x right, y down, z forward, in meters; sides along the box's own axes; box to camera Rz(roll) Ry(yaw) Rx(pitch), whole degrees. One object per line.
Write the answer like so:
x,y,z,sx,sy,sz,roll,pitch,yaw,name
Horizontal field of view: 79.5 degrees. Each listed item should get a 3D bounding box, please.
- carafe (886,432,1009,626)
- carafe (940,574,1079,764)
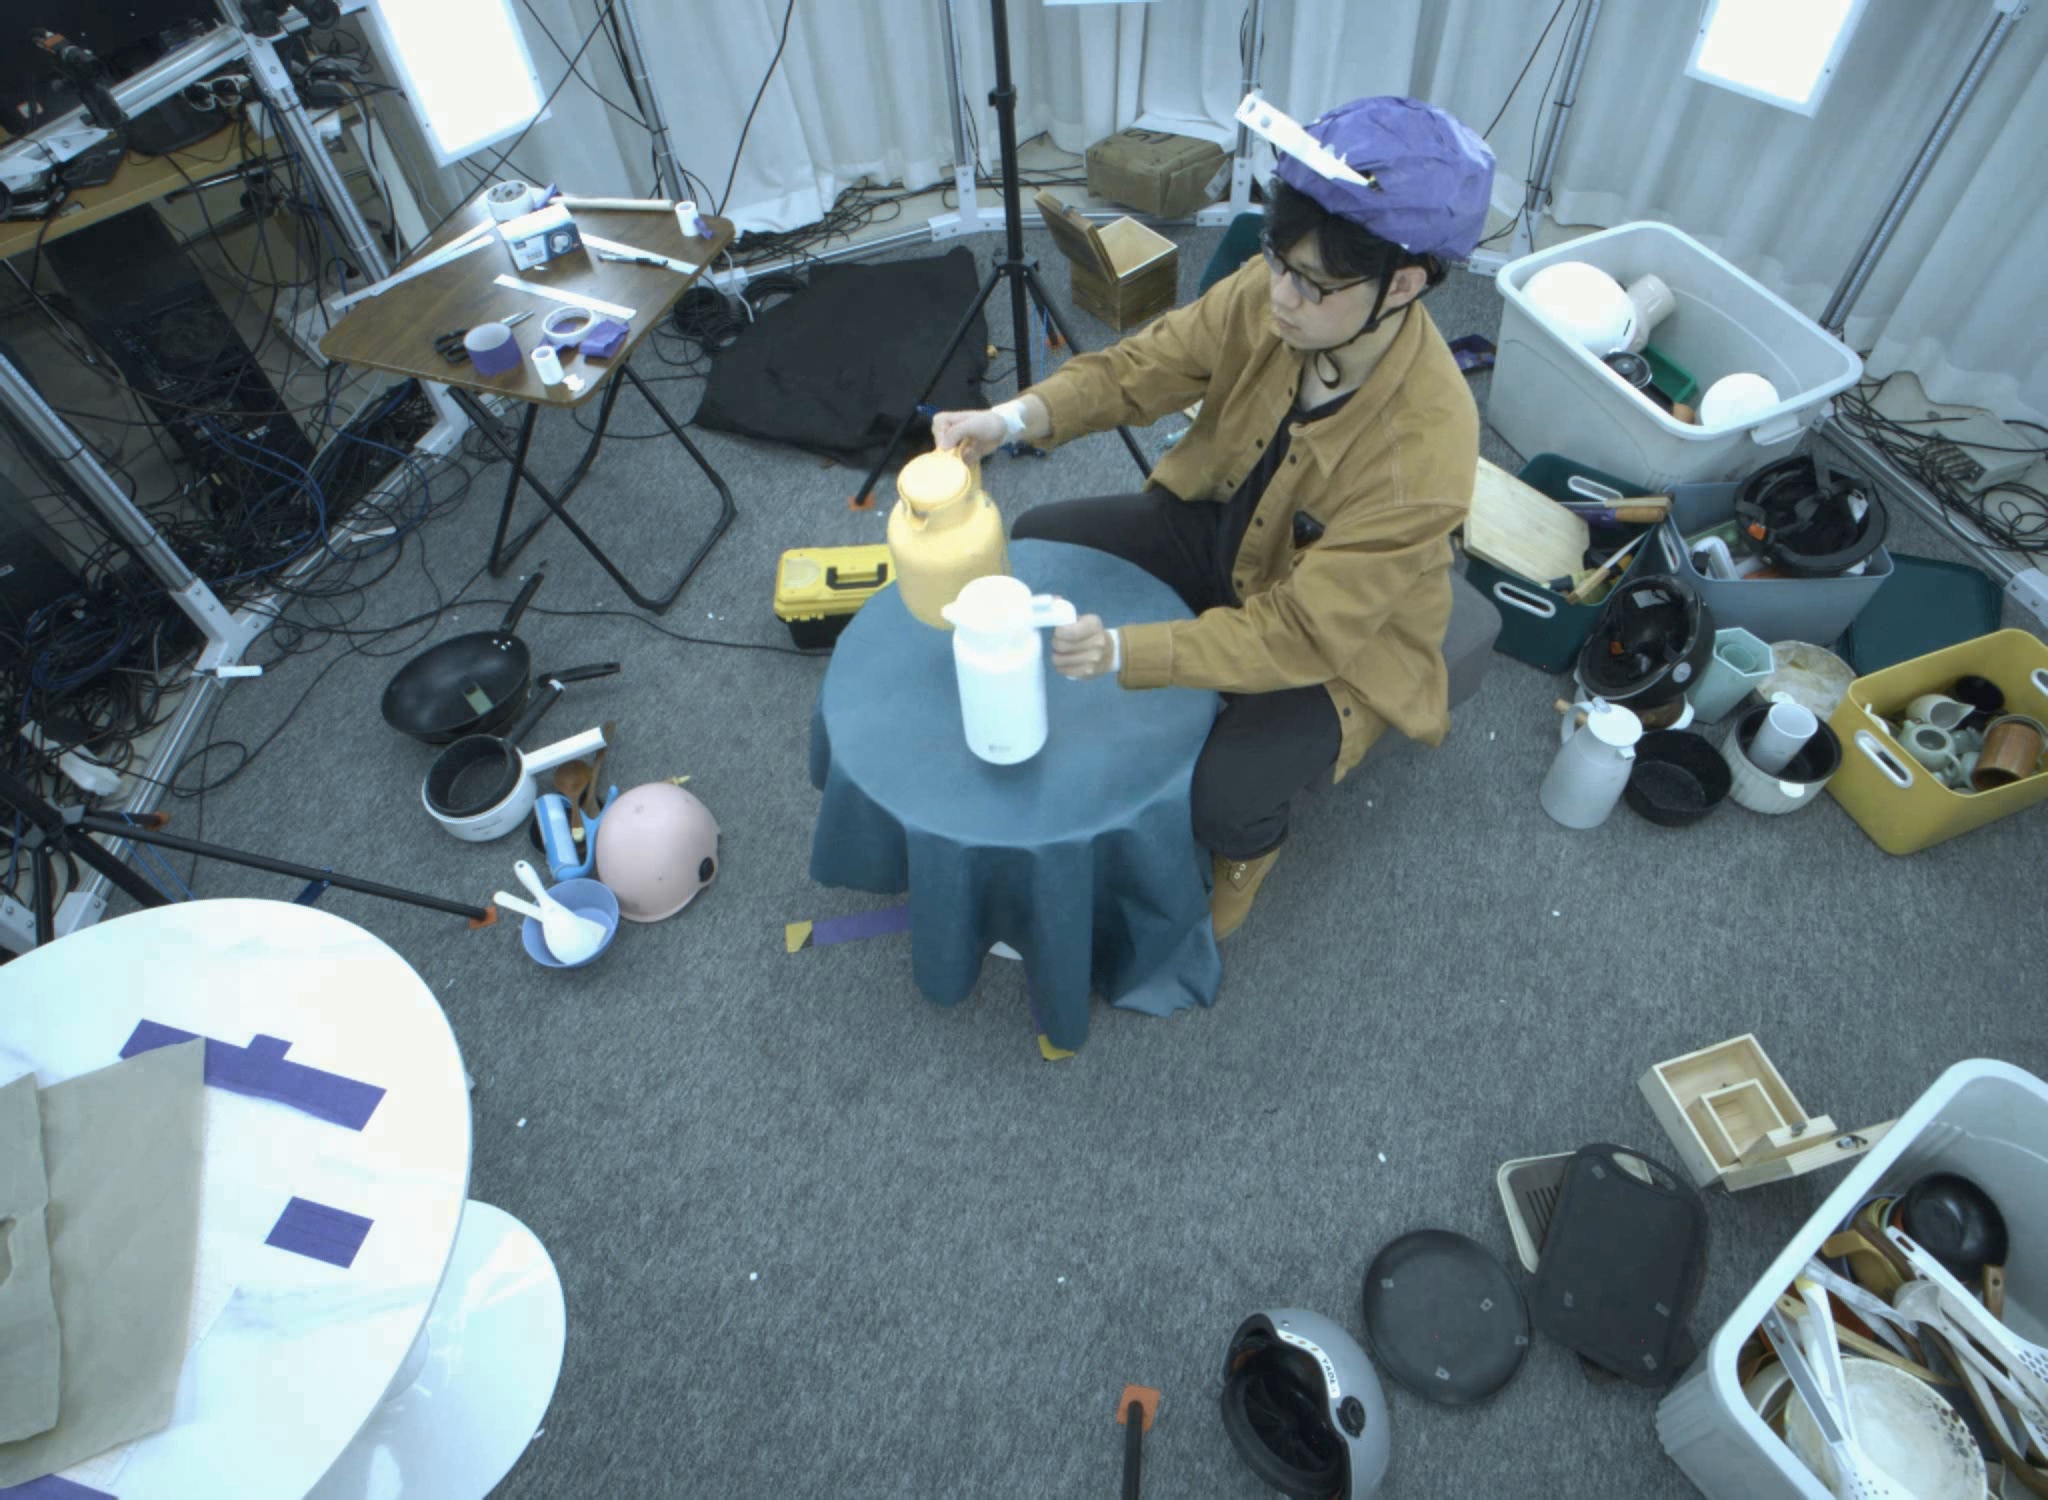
-0.103,-0.315,1.701,0.162,0.263,0.202,16,64,11,carafe
-0.013,-0.106,1.638,0.173,0.272,0.122,-5,50,-1,carafe
